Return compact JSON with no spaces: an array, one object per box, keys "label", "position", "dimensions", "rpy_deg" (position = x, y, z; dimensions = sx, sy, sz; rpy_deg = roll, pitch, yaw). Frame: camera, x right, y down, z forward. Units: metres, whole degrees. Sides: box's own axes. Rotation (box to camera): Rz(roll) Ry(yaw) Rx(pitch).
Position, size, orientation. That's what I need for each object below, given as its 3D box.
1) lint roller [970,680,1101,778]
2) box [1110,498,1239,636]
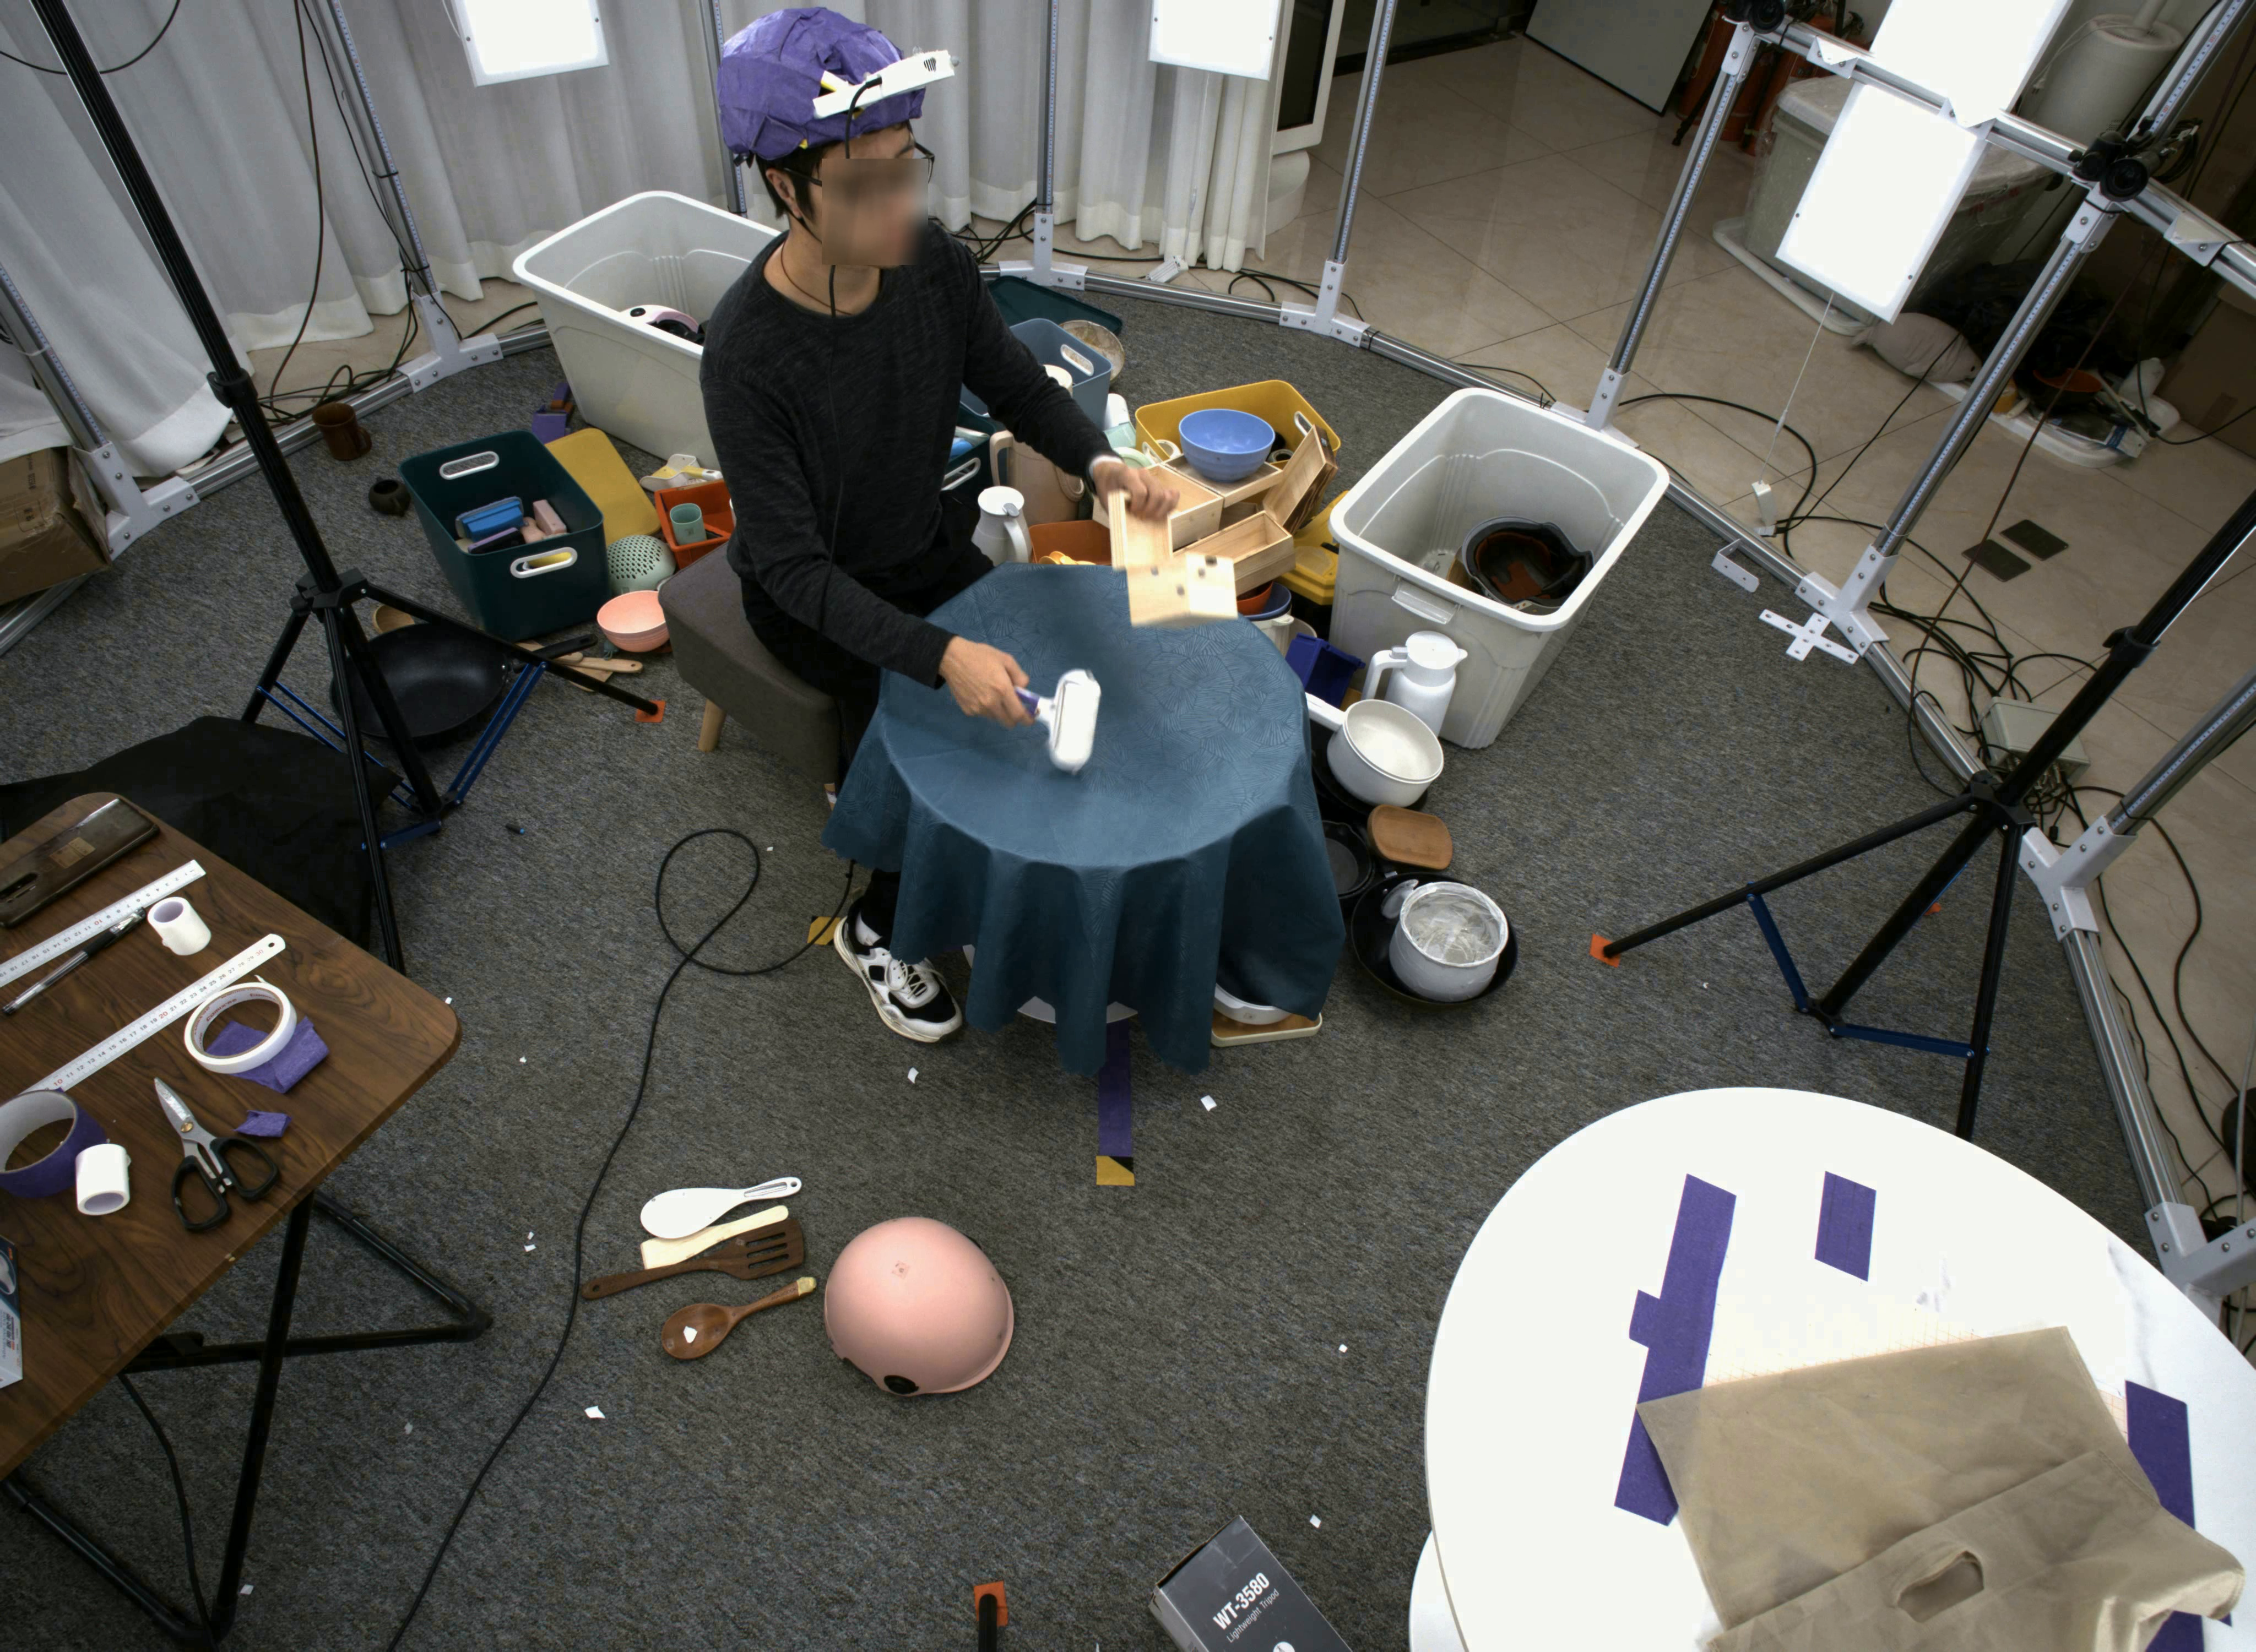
[{"label":"lint roller","position":[-0.130,-0.149,1.695],"dimensions":[0.181,0.131,0.051],"rpy_deg":[20,23,7]},{"label":"box","position":[0.063,-0.352,1.711],"dimensions":[0.134,0.184,0.102],"rpy_deg":[-5,0,42]}]
